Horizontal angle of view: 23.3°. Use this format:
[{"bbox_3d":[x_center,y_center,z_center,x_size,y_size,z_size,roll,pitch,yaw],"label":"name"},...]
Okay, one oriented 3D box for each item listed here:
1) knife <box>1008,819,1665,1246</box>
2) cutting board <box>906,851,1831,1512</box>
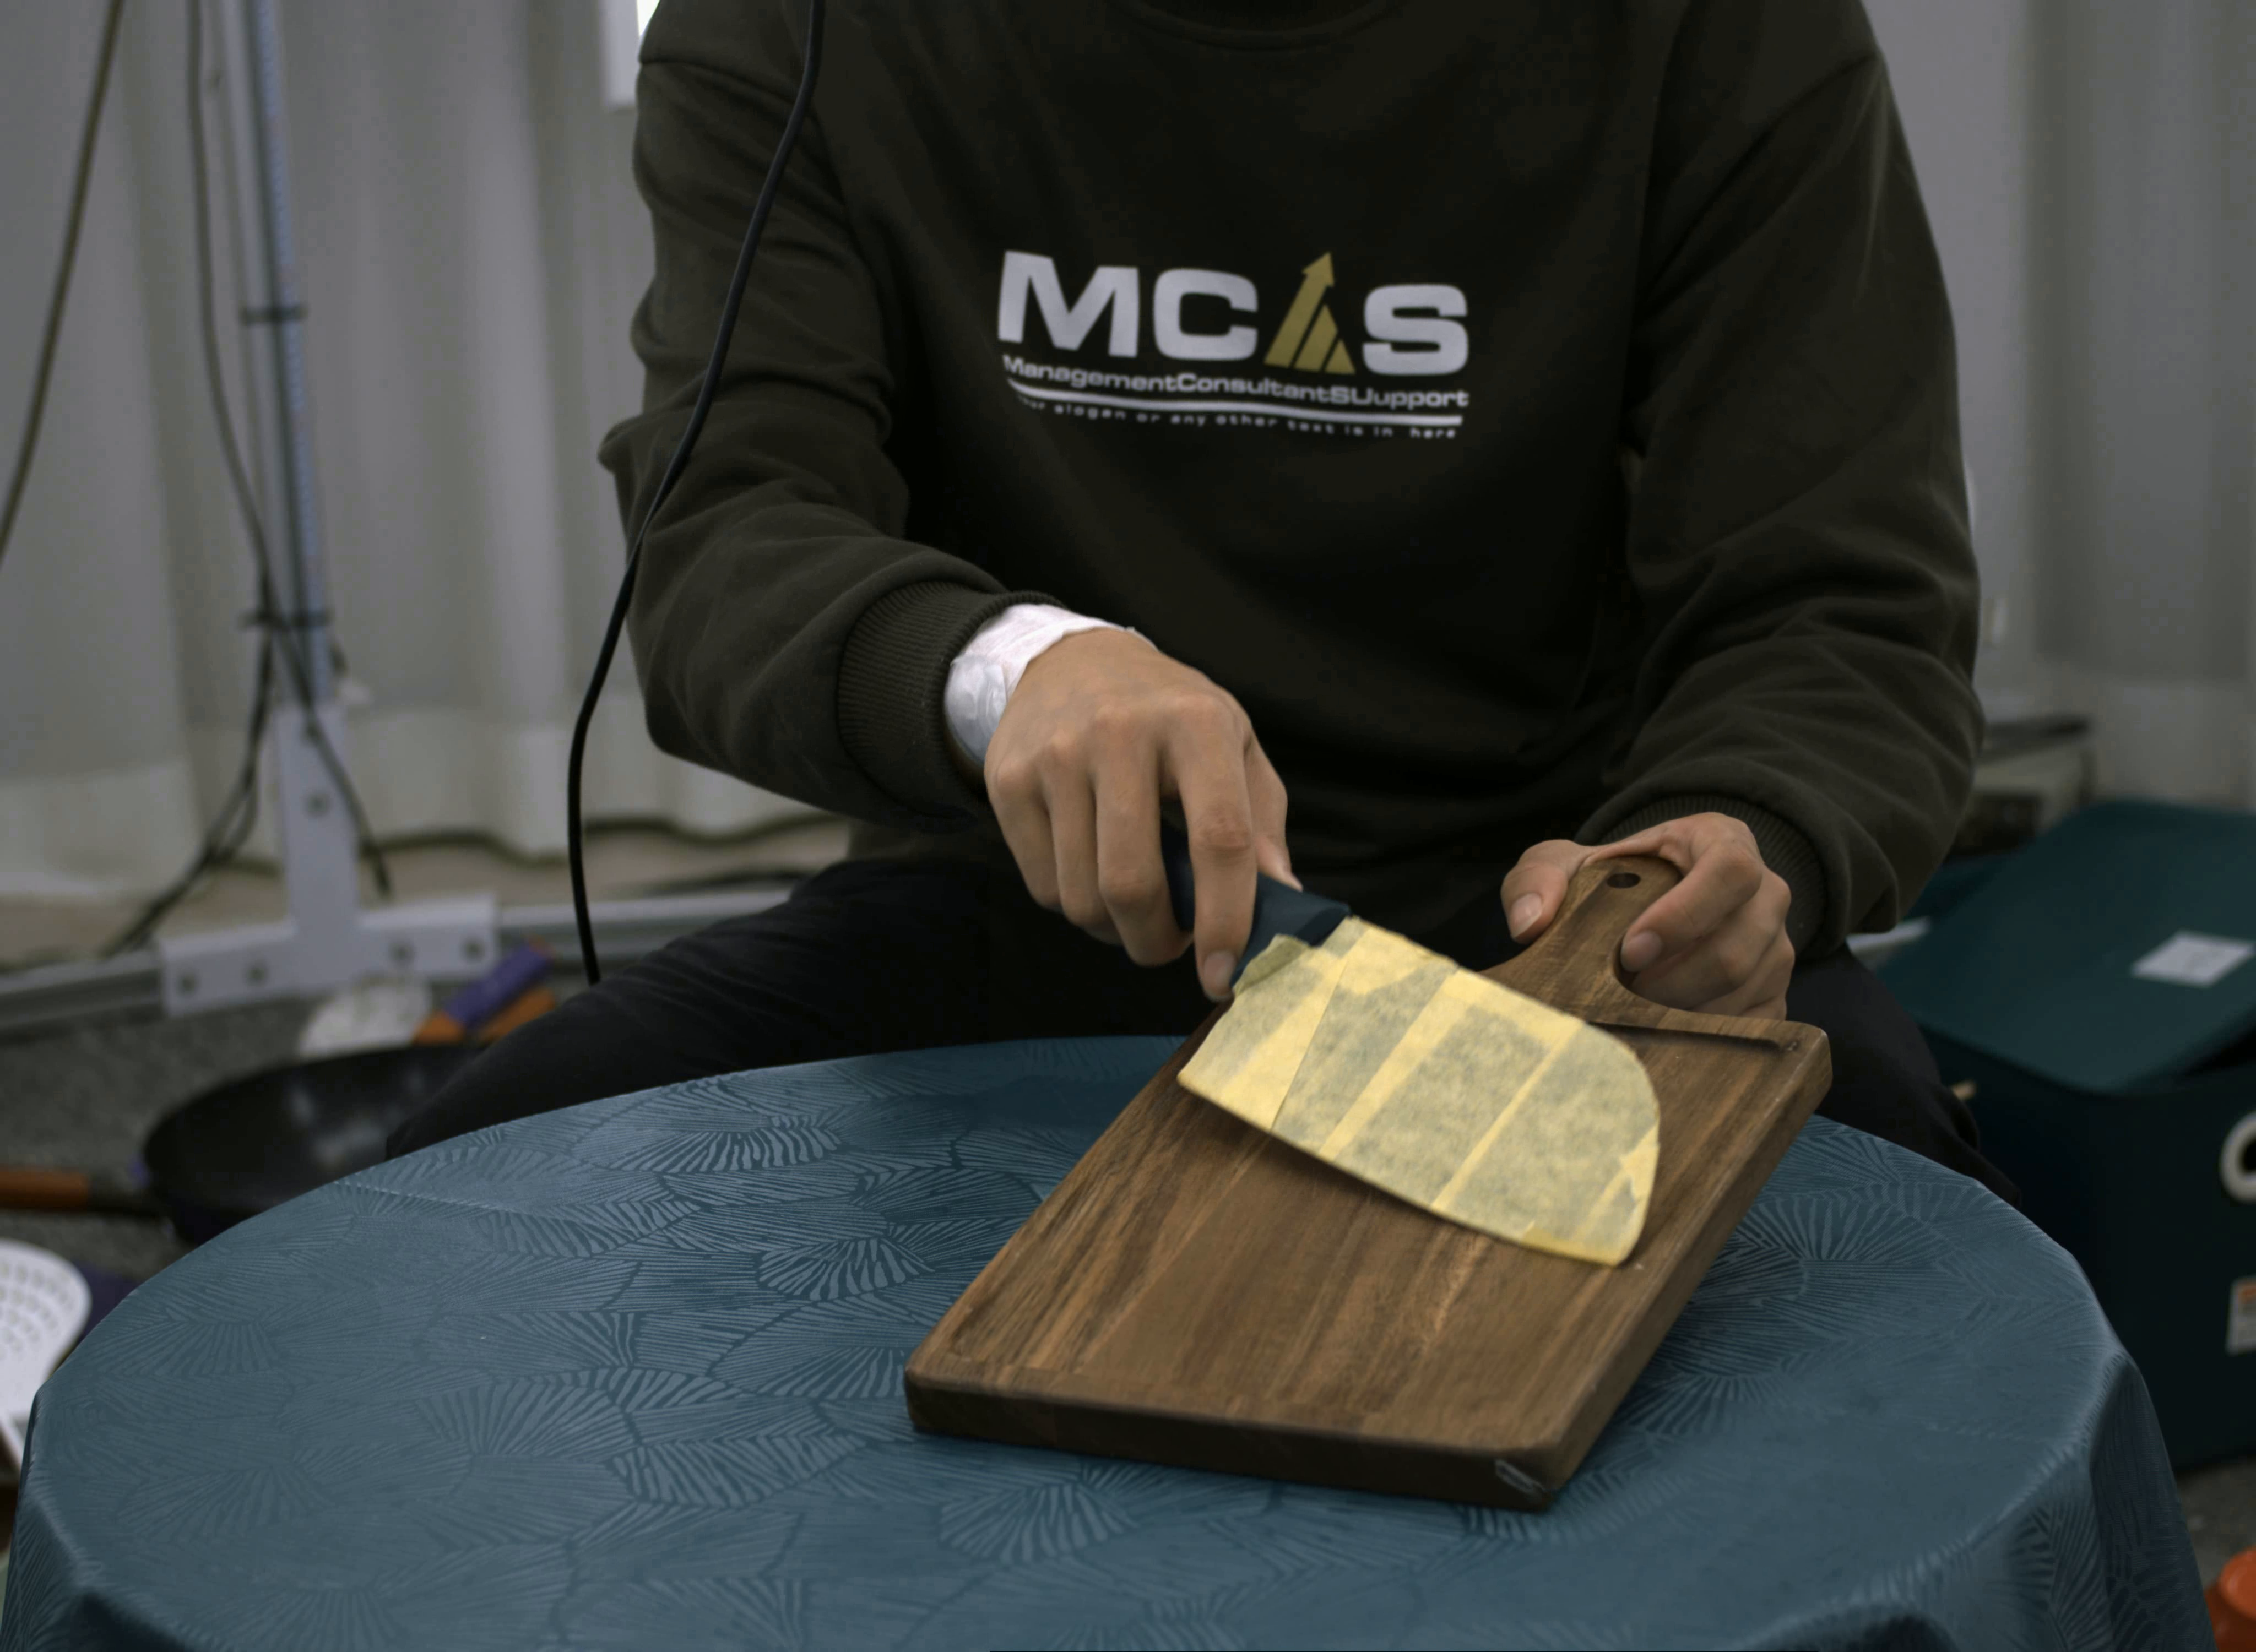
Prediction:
[{"bbox_3d":[0.053,0.059,1.628,0.081,0.027,0.292,-46,43,-16],"label":"knife"},{"bbox_3d":[0.094,0.093,1.617,0.201,0.023,0.354,4,27,25],"label":"cutting board"}]
